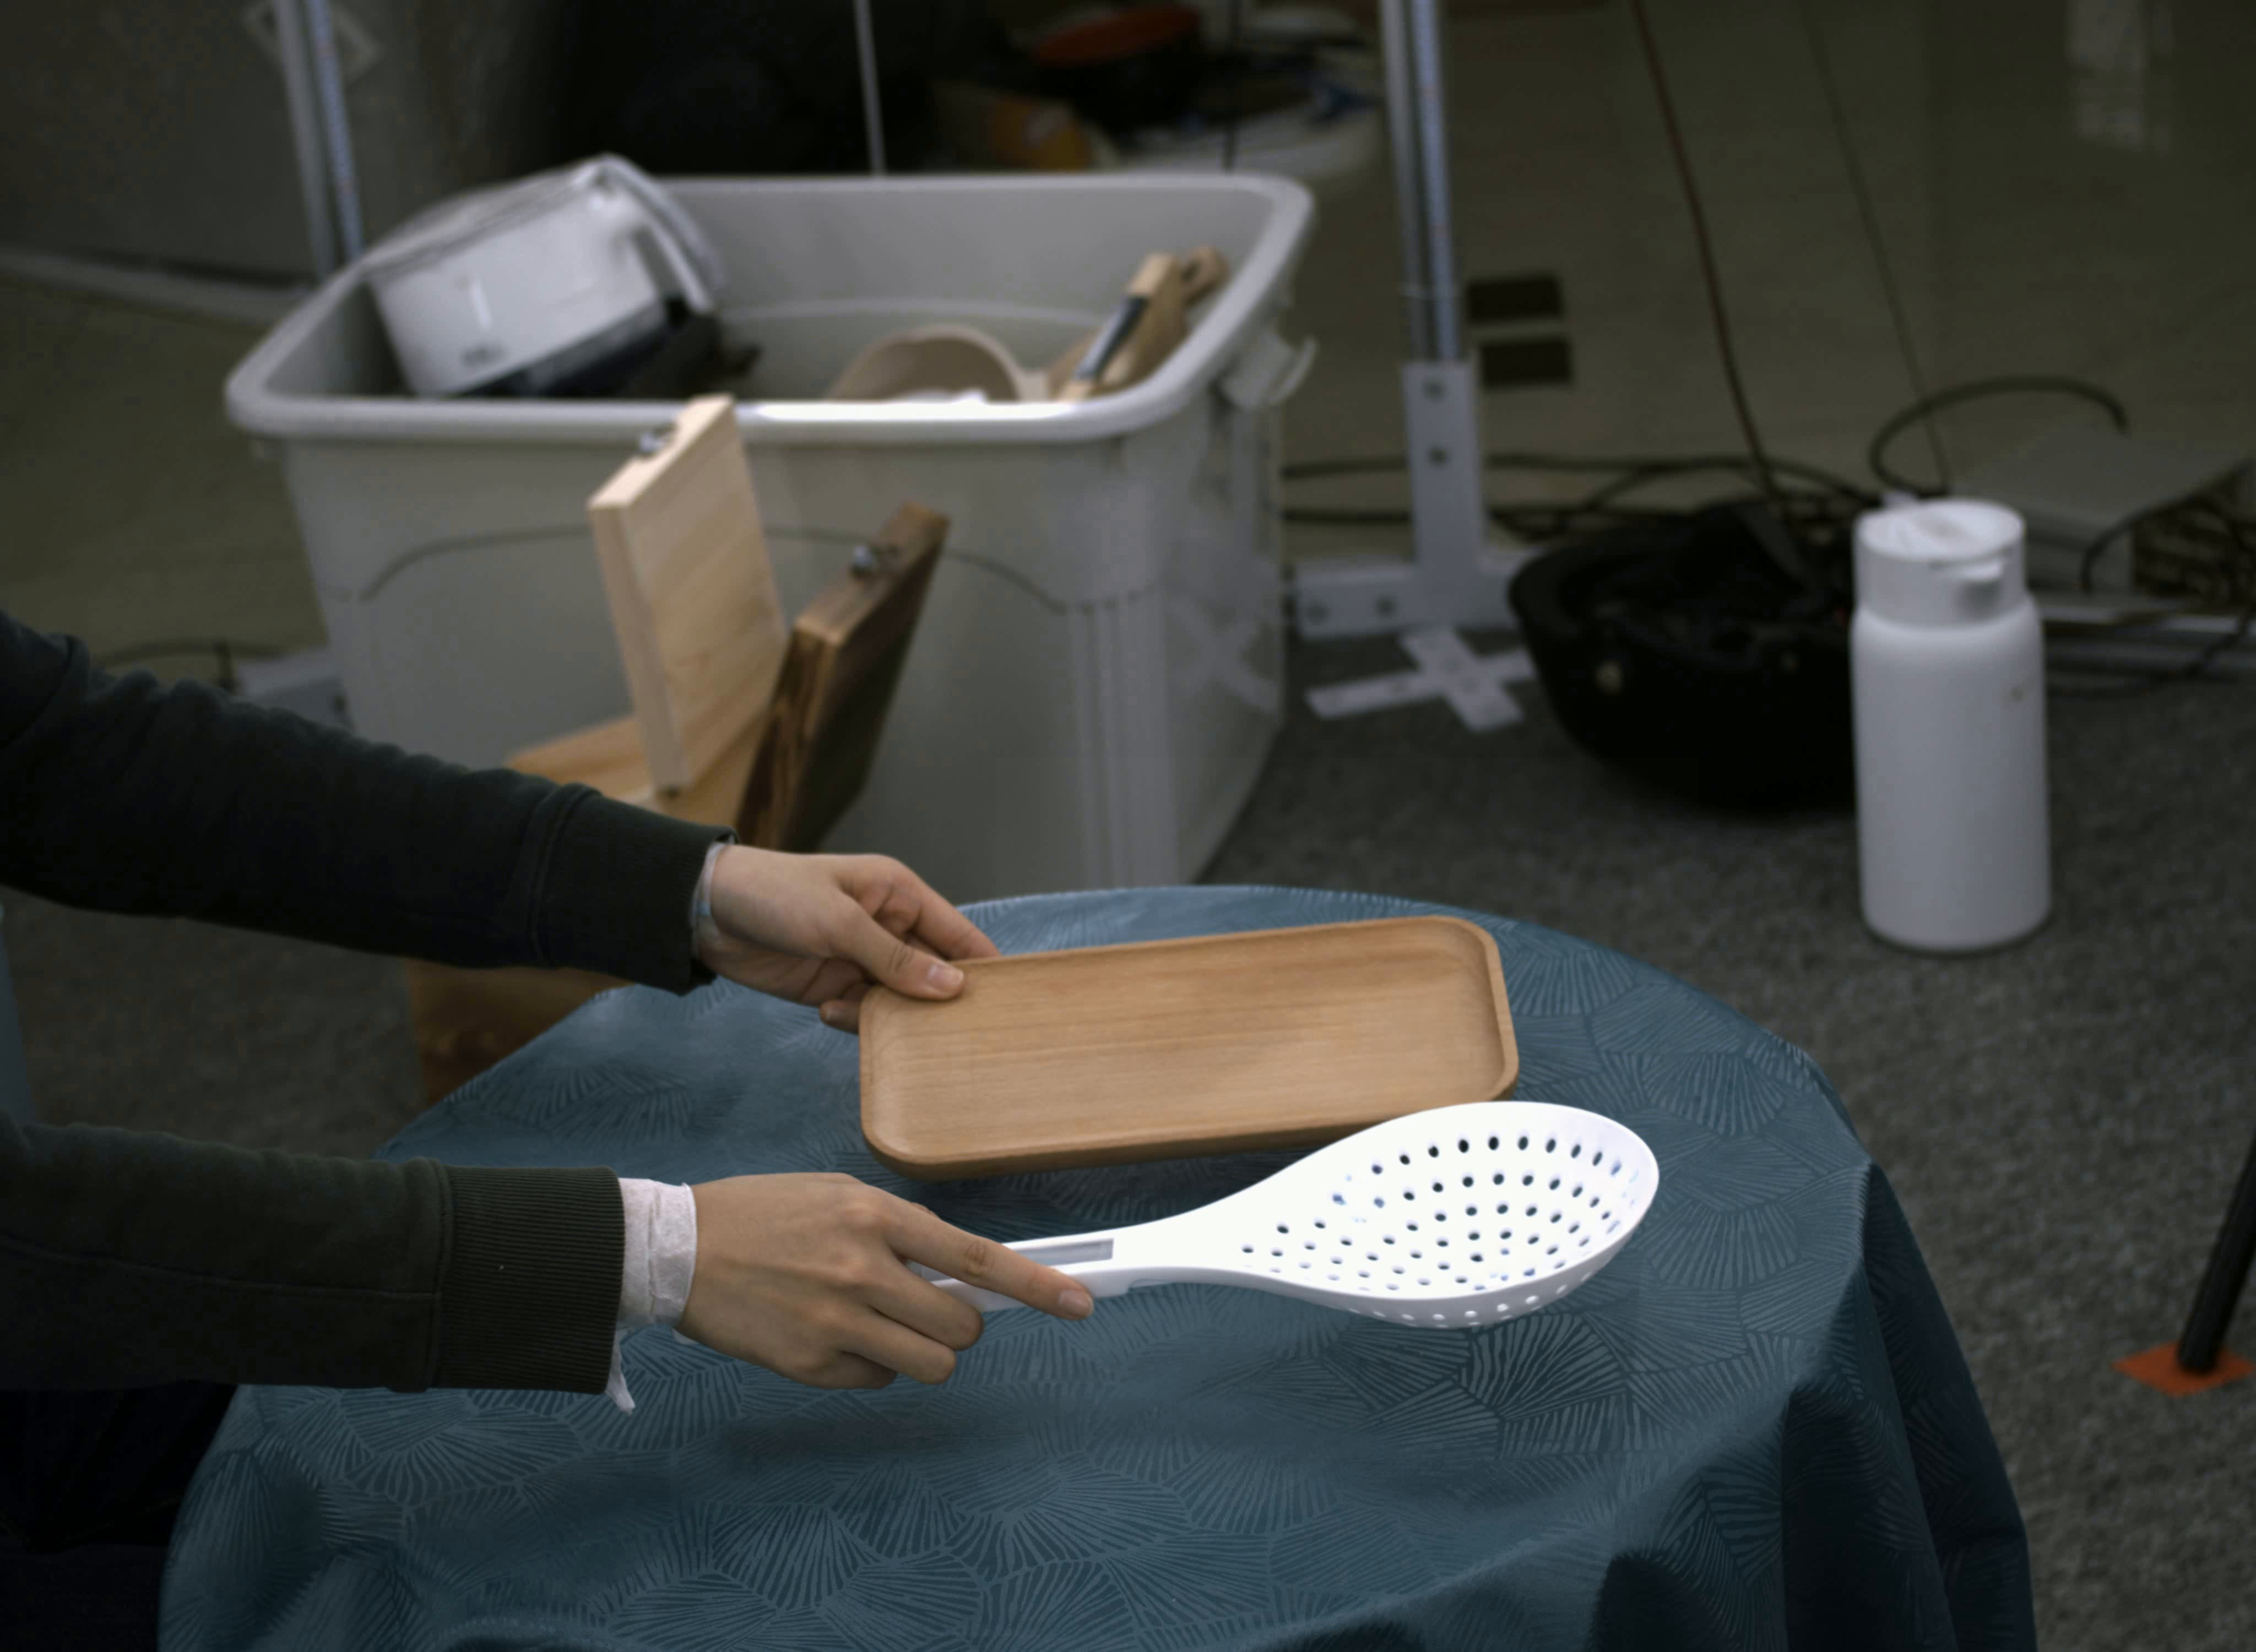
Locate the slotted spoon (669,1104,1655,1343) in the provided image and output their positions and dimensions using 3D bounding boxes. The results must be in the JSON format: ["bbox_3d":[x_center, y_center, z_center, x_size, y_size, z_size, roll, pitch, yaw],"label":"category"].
[{"bbox_3d":[0.010,0.150,1.991,0.349,0.046,0.134,-3,25,4],"label":"slotted spoon"}]

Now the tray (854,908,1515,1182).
[{"bbox_3d":[0.020,0.084,2.174,0.250,0.023,0.128,-6,34,1],"label":"tray"}]
